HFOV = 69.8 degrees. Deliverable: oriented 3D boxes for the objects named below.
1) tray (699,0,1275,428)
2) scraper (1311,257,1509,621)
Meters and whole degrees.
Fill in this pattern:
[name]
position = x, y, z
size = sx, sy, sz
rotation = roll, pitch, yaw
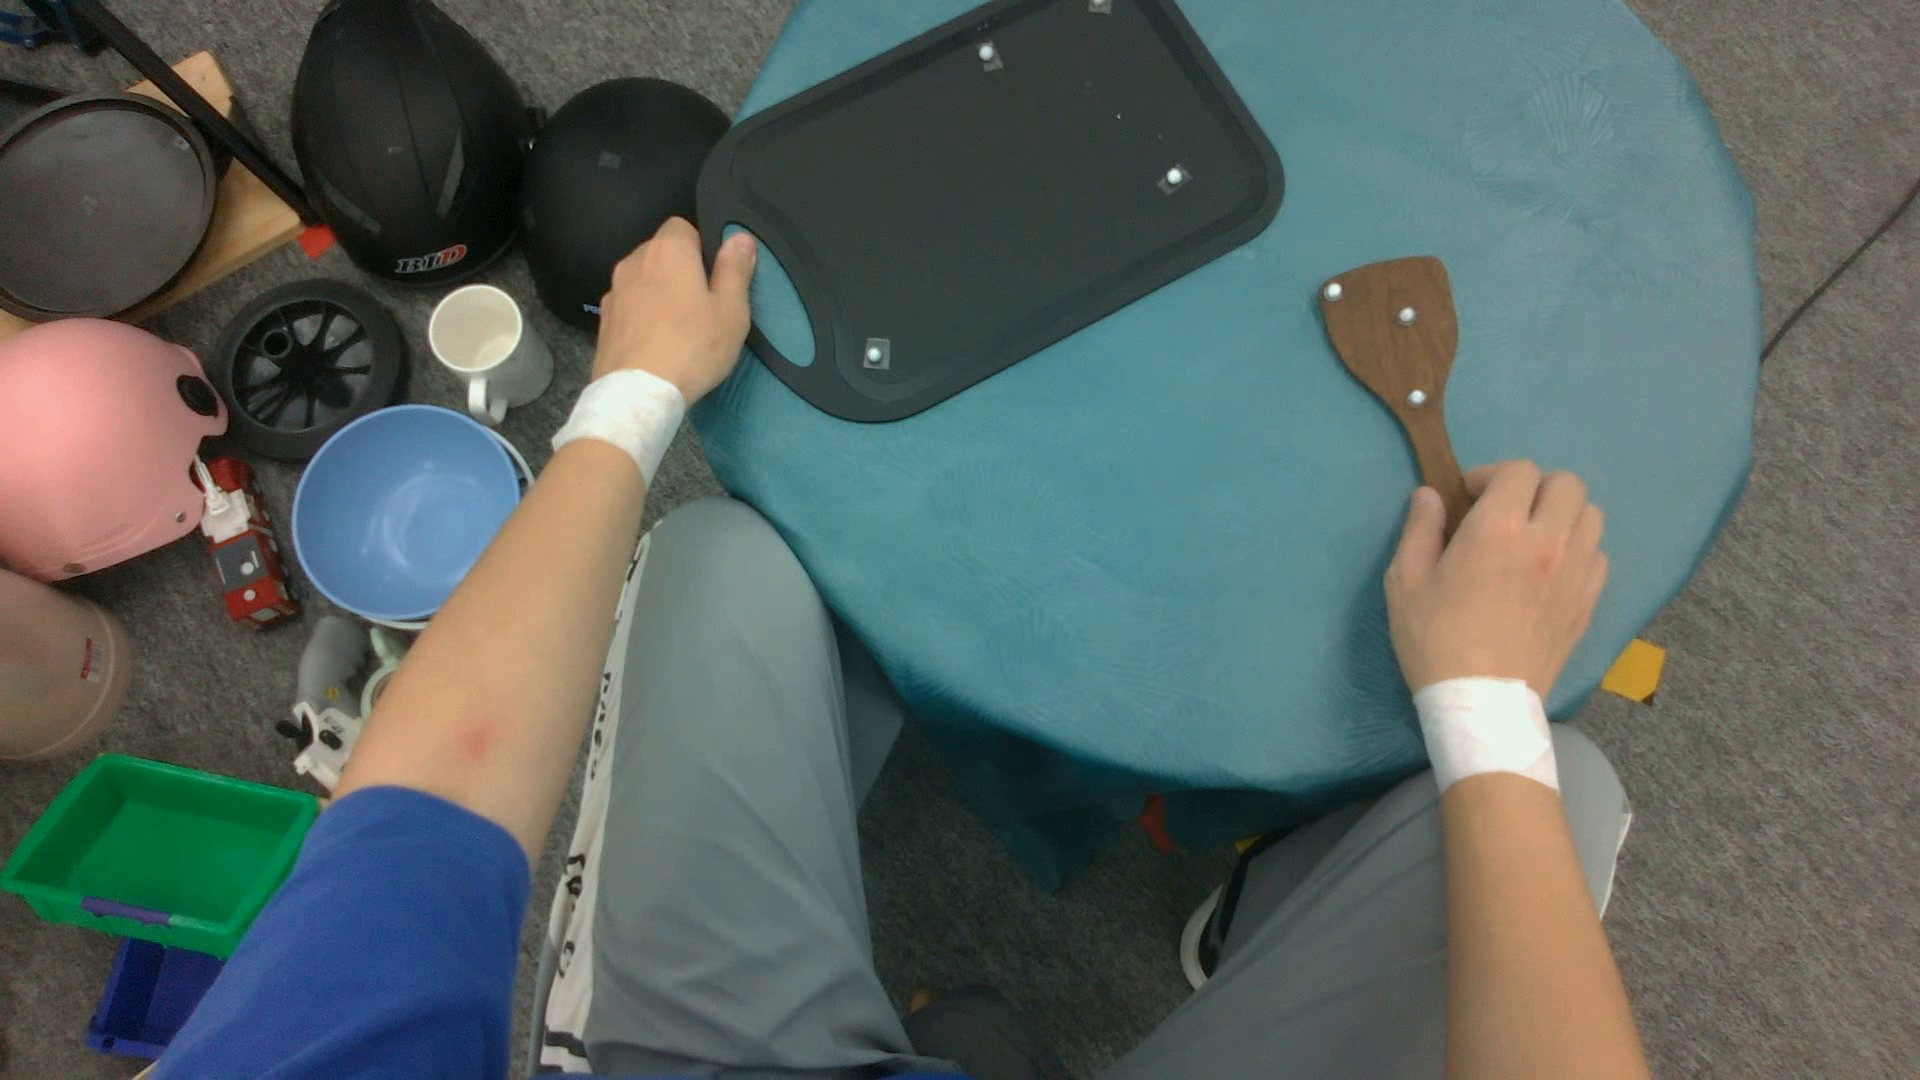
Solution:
[tray]
position = 0.010, -0.202, 0.807
size = 0.326, 0.010, 0.211
rotation = -29, 76, -7
[scraper]
position = 0.257, -0.057, 0.761
size = 0.076, 0.011, 0.211
rotation = -13, 74, 0
